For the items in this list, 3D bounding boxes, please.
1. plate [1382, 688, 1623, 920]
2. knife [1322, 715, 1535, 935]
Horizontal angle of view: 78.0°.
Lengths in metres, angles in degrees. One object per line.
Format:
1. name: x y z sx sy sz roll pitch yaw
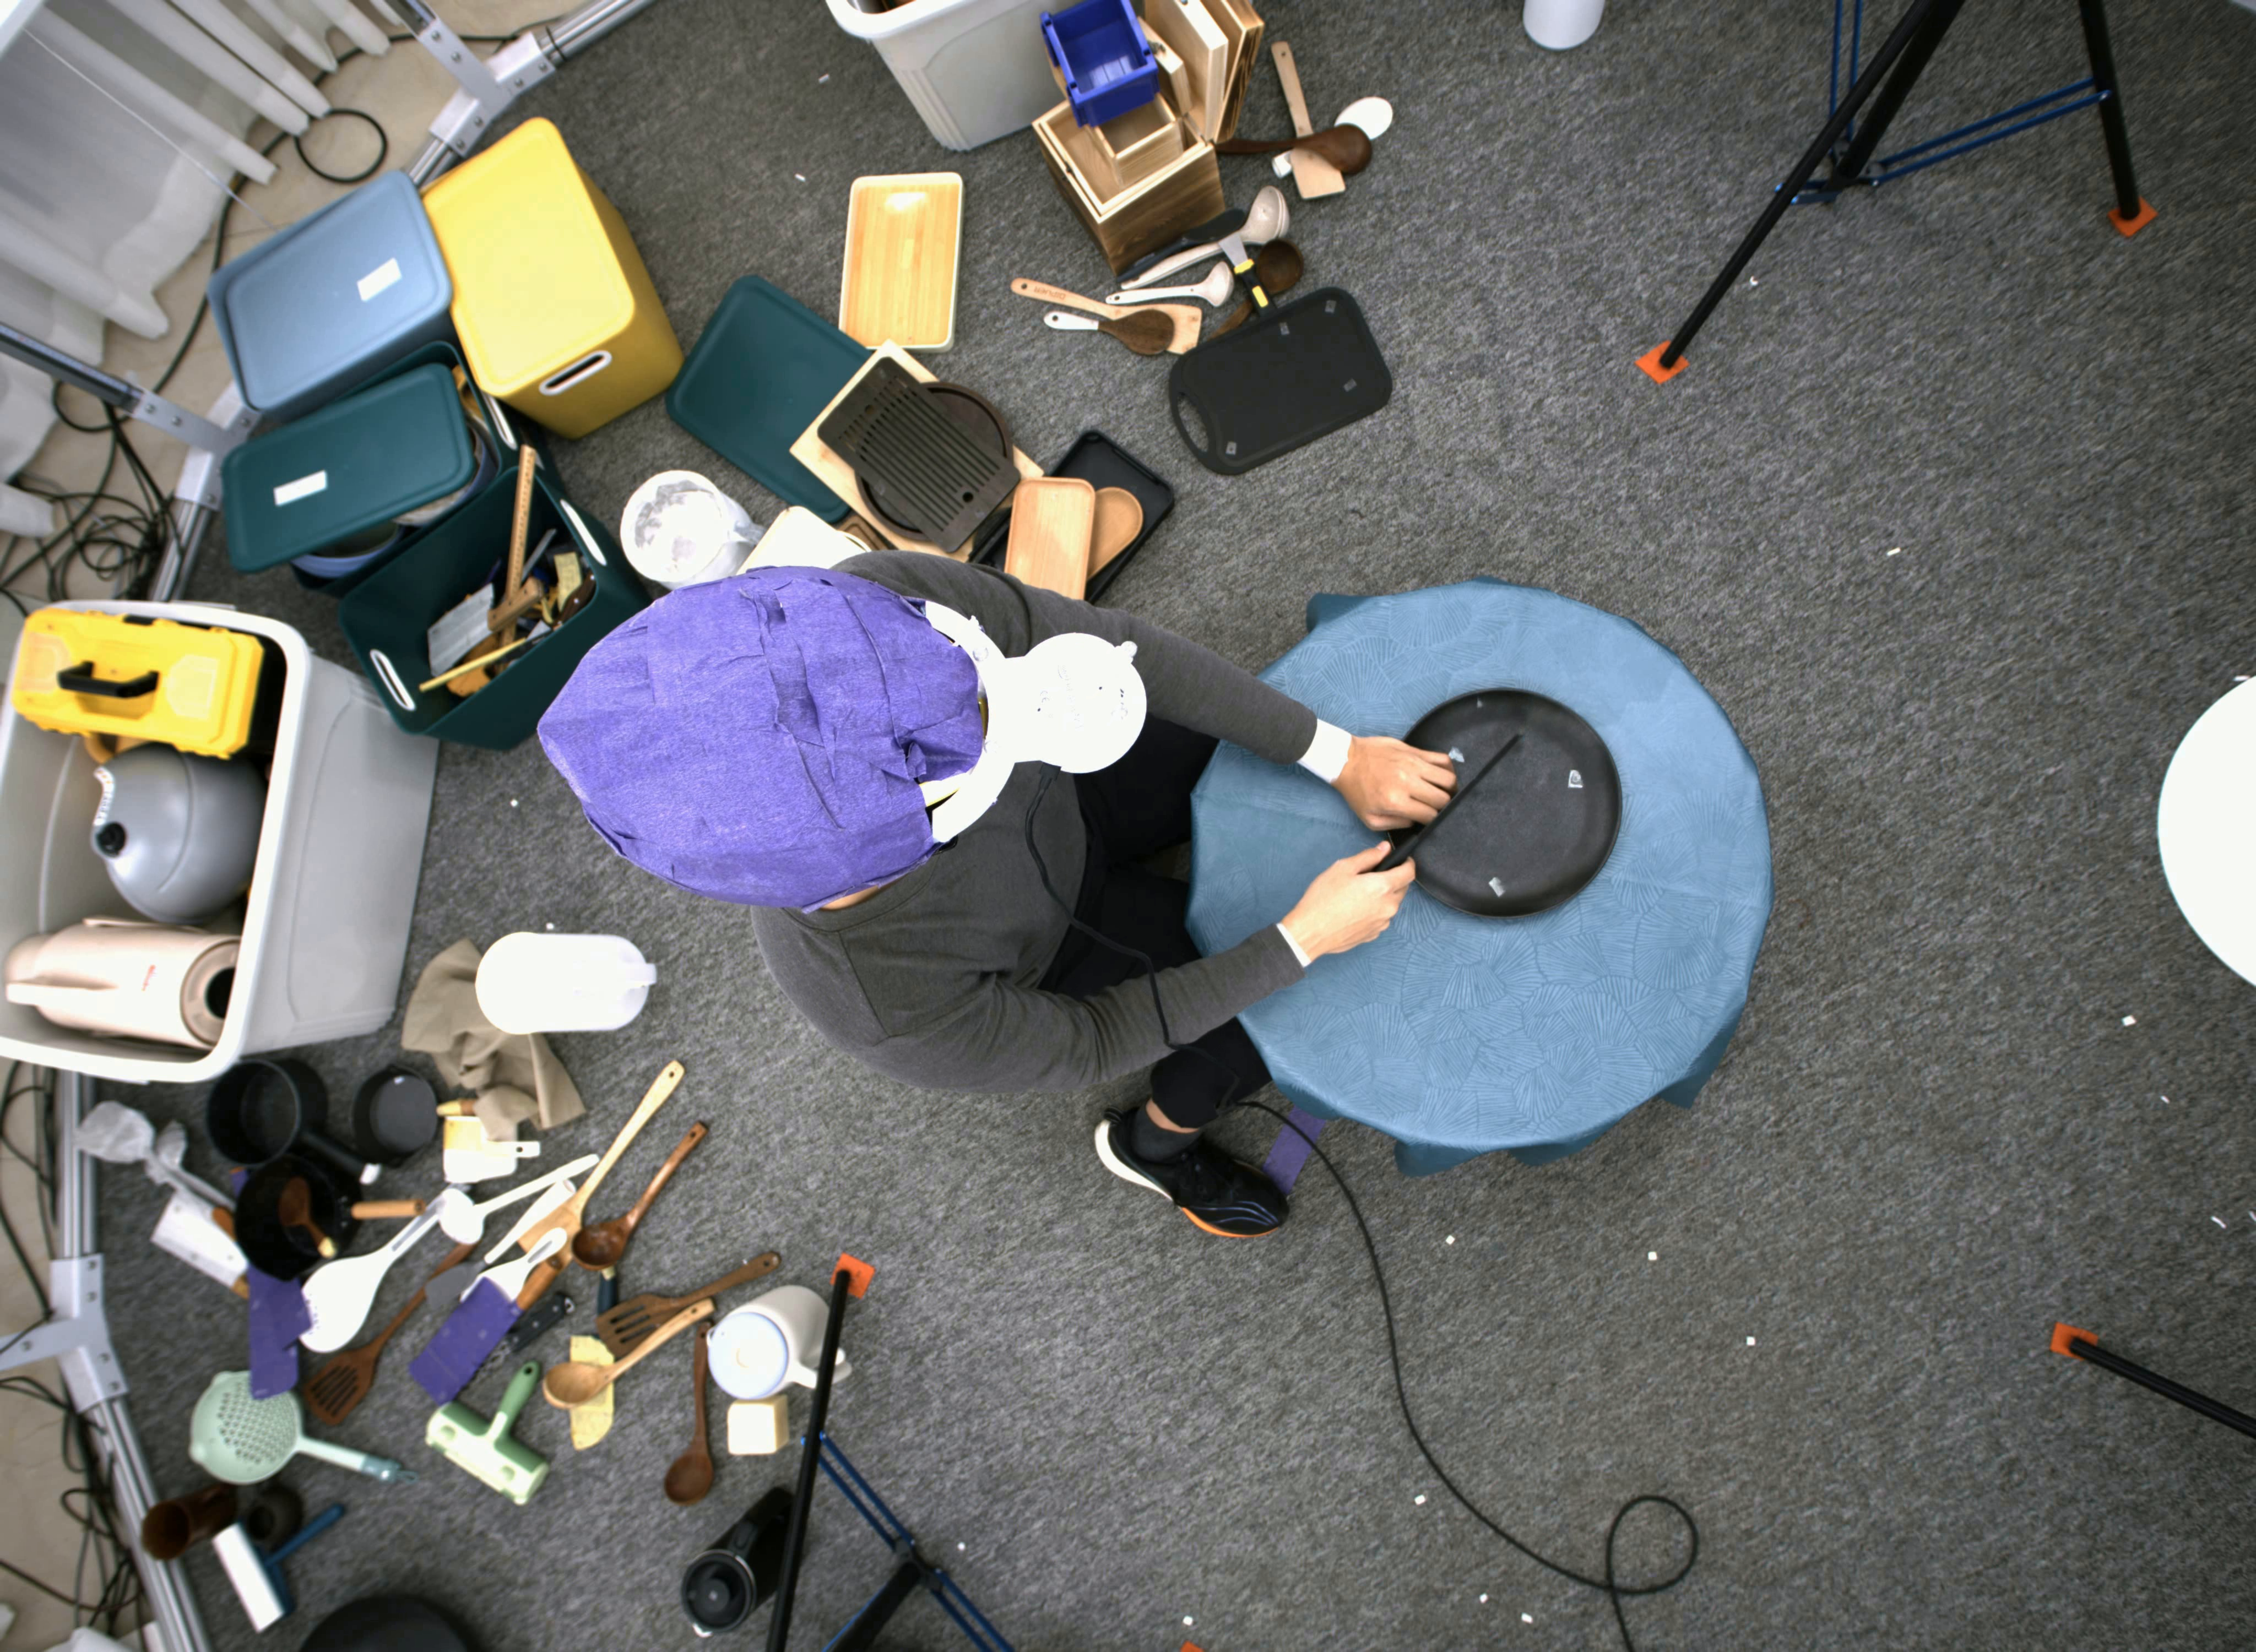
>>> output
1. plate: 0.389 -0.025 1.432 0.245 0.023 0.243 -1 87 11
2. knife: 0.306 -0.002 1.394 0.302 0.081 0.021 -45 75 1
